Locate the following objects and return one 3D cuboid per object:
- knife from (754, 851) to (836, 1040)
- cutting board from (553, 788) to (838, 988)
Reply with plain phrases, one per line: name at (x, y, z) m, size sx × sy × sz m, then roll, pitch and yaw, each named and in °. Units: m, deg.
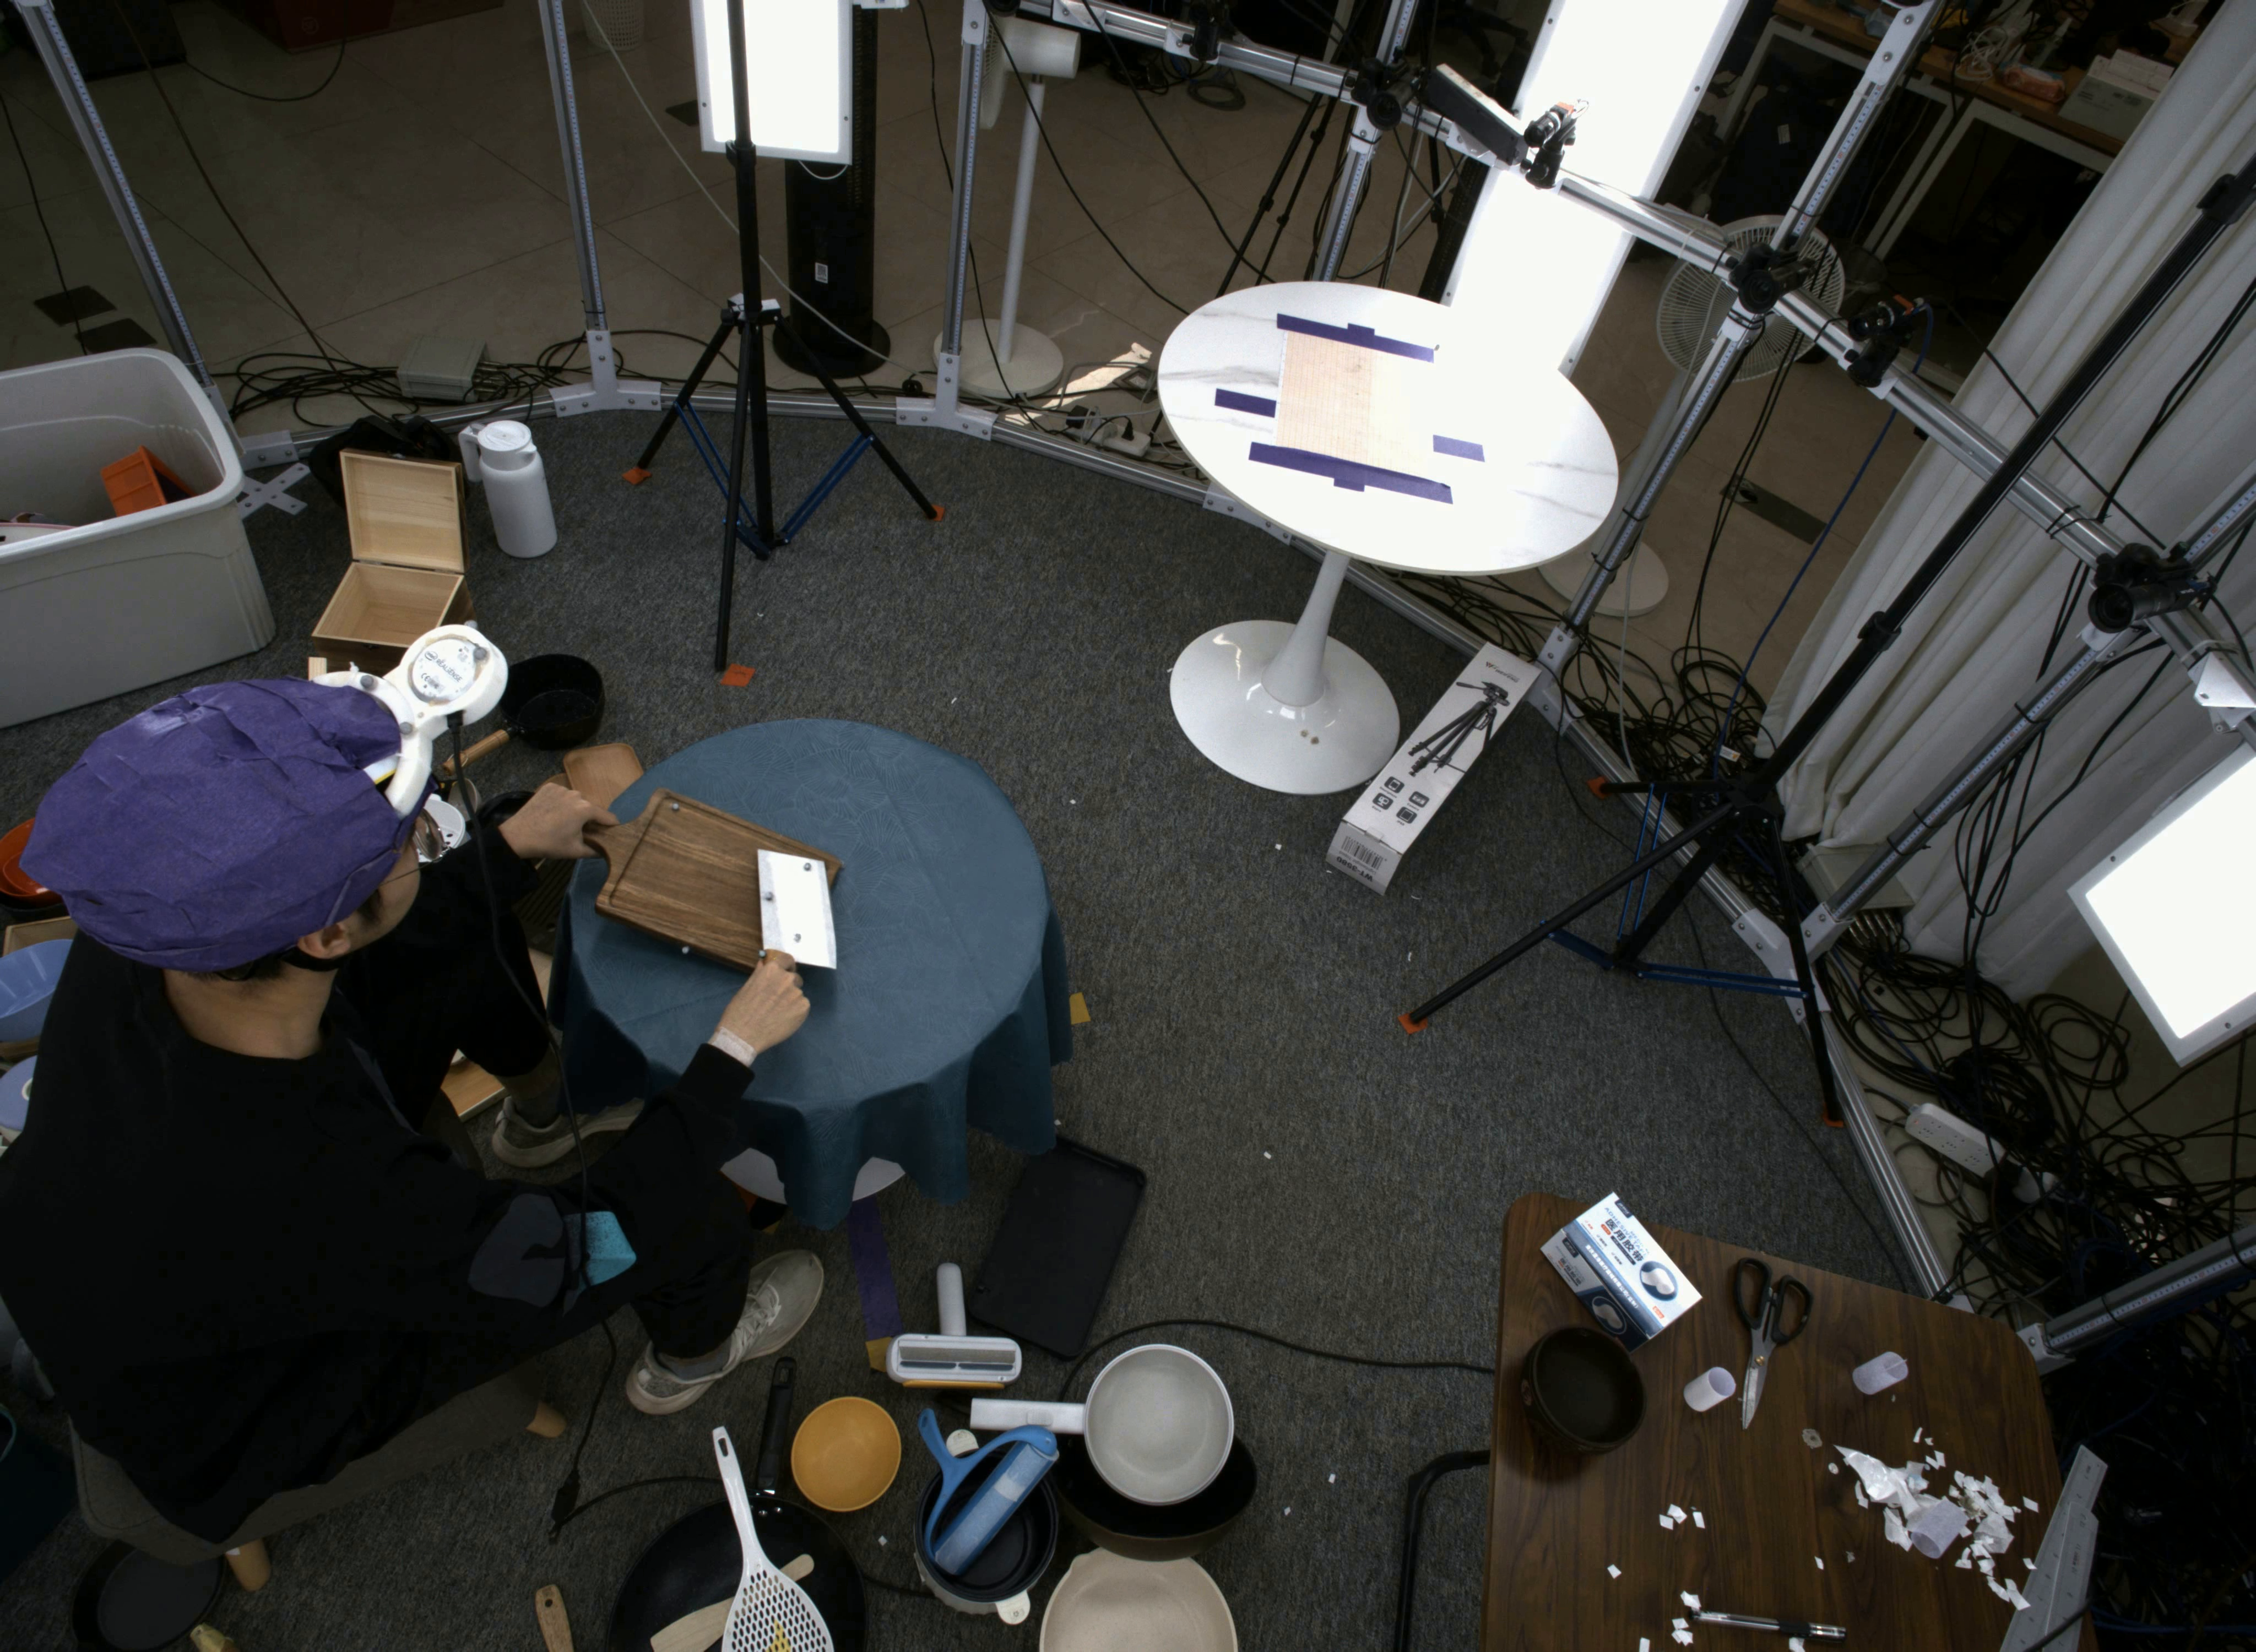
knife at (-0.393, 0.134, 1.537) m, size 0.095 × 0.021 × 0.296 m, roll 14°, pitch 36°, yaw -30°
cutting board at (-0.546, 0.054, 1.577) m, size 0.355 × 0.023 × 0.198 m, roll 23°, pitch 51°, yaw -15°
